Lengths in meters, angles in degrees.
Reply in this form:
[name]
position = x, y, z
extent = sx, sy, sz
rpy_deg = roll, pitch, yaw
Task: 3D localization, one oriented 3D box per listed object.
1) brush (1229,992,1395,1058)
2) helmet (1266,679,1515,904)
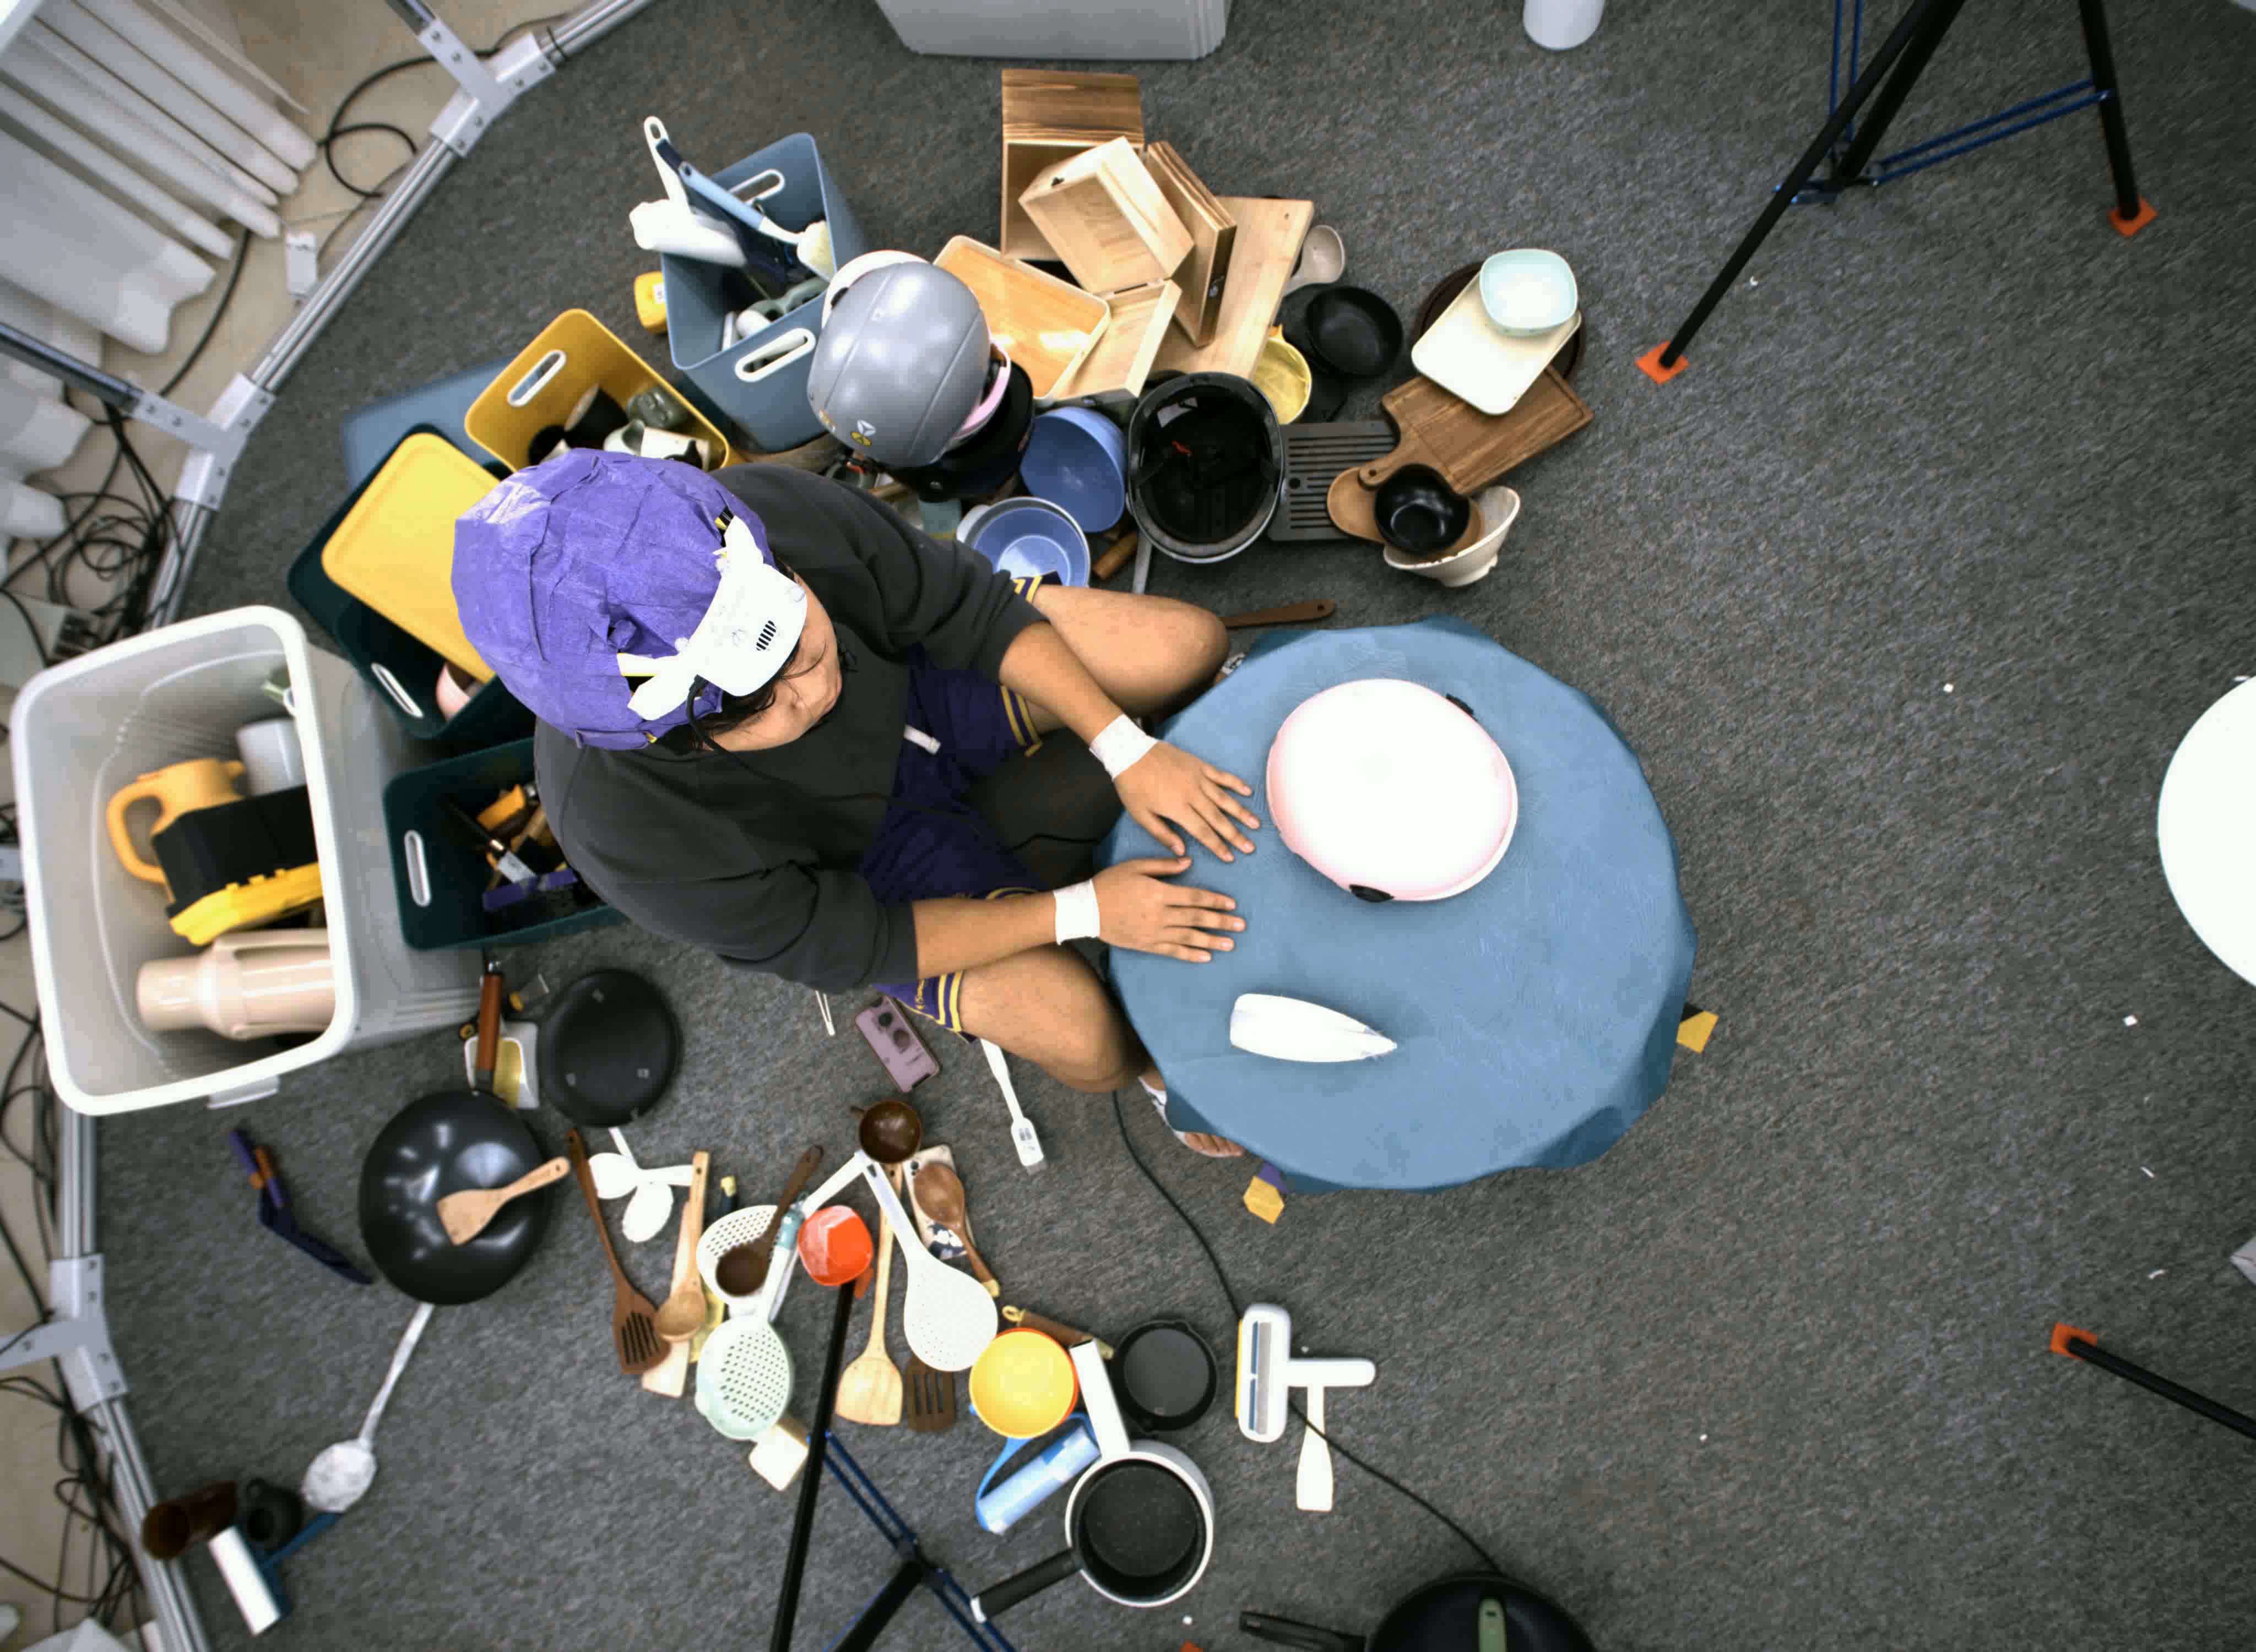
[brush]
position = 0.188, 0.209, 1.420
extent = 0.176, 0.094, 0.061
rpy_deg = 9, 87, 9
[helmet]
position = 0.269, -0.042, 1.390
extent = 0.266, 0.159, 0.234
rpy_deg = 25, 90, 7
